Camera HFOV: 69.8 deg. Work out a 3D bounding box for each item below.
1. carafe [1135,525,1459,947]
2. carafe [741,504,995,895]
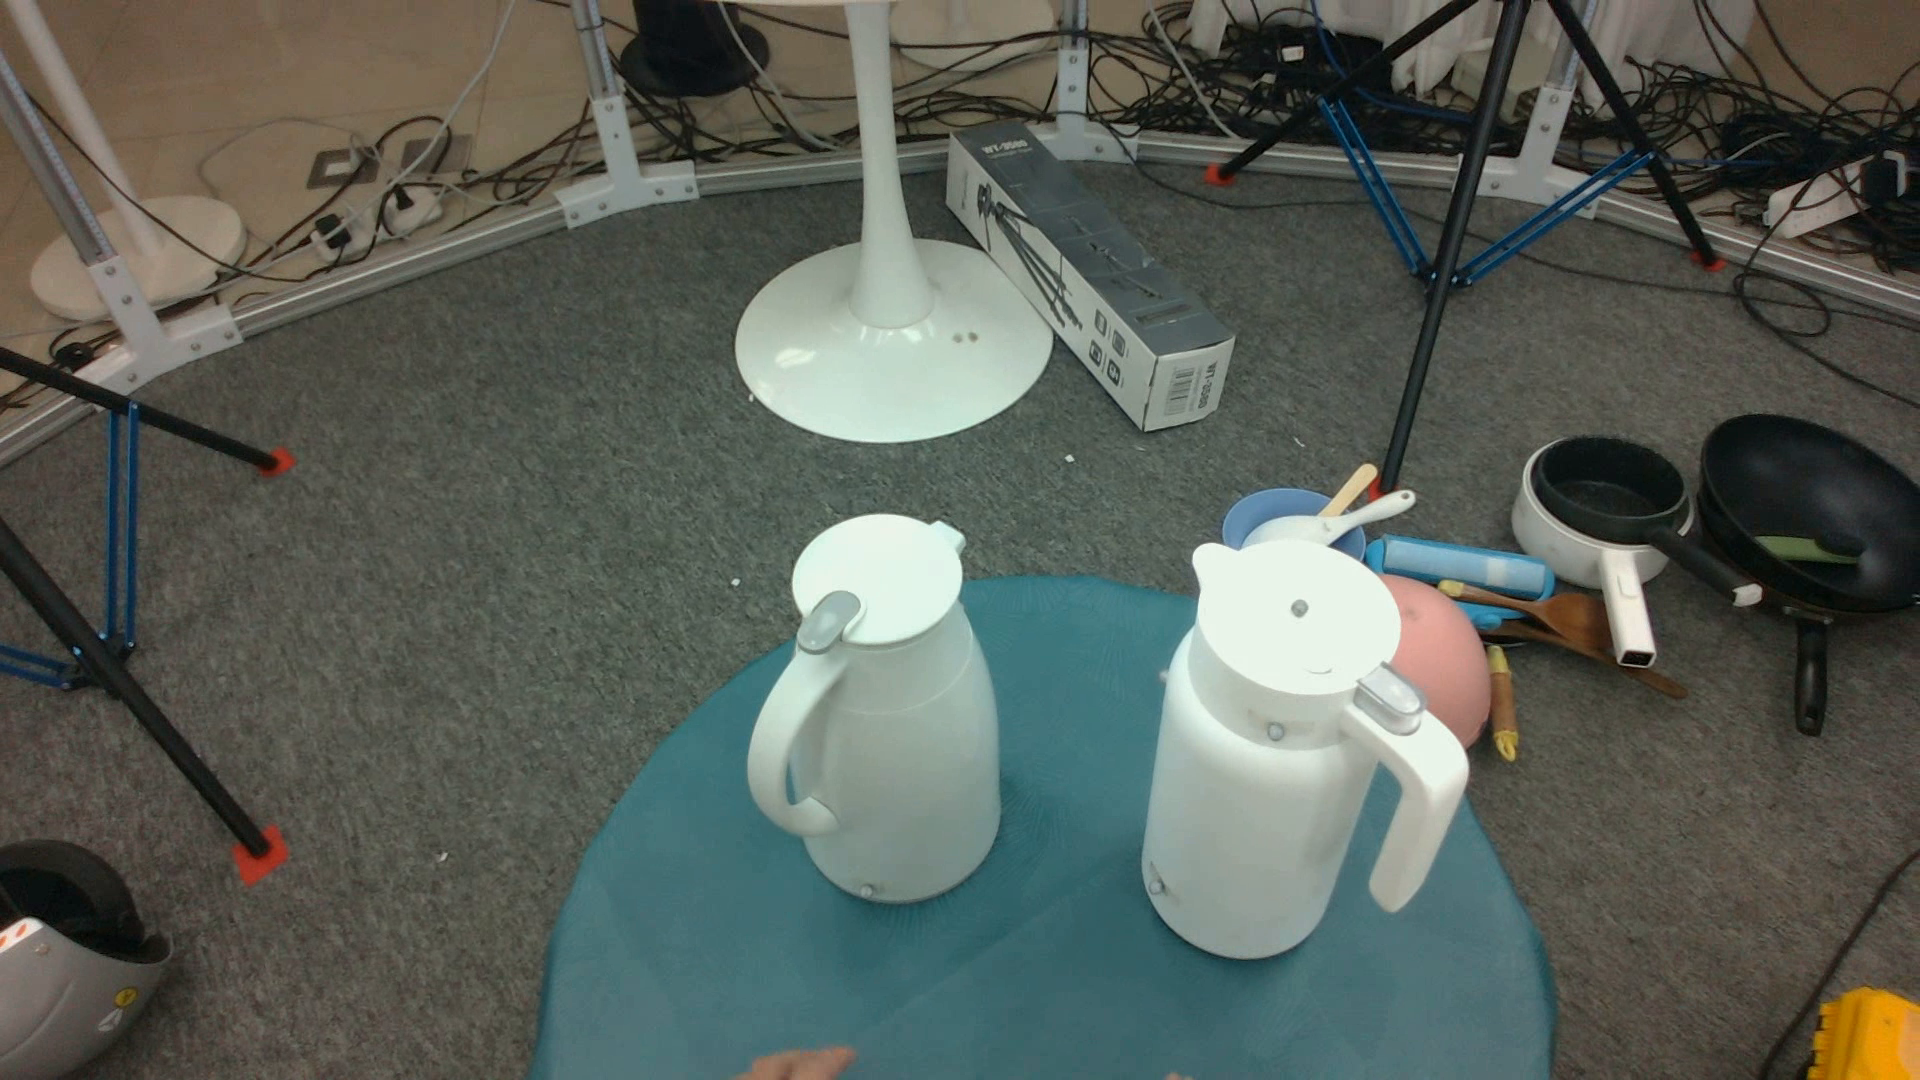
[{"bbox_3d":[0.178,0.128,0.769,0.124,0.267,0.173,-30,54,-27],"label":"carafe"},{"bbox_3d":[-0.057,0.104,0.807,0.132,0.247,0.168,29,55,25],"label":"carafe"}]
